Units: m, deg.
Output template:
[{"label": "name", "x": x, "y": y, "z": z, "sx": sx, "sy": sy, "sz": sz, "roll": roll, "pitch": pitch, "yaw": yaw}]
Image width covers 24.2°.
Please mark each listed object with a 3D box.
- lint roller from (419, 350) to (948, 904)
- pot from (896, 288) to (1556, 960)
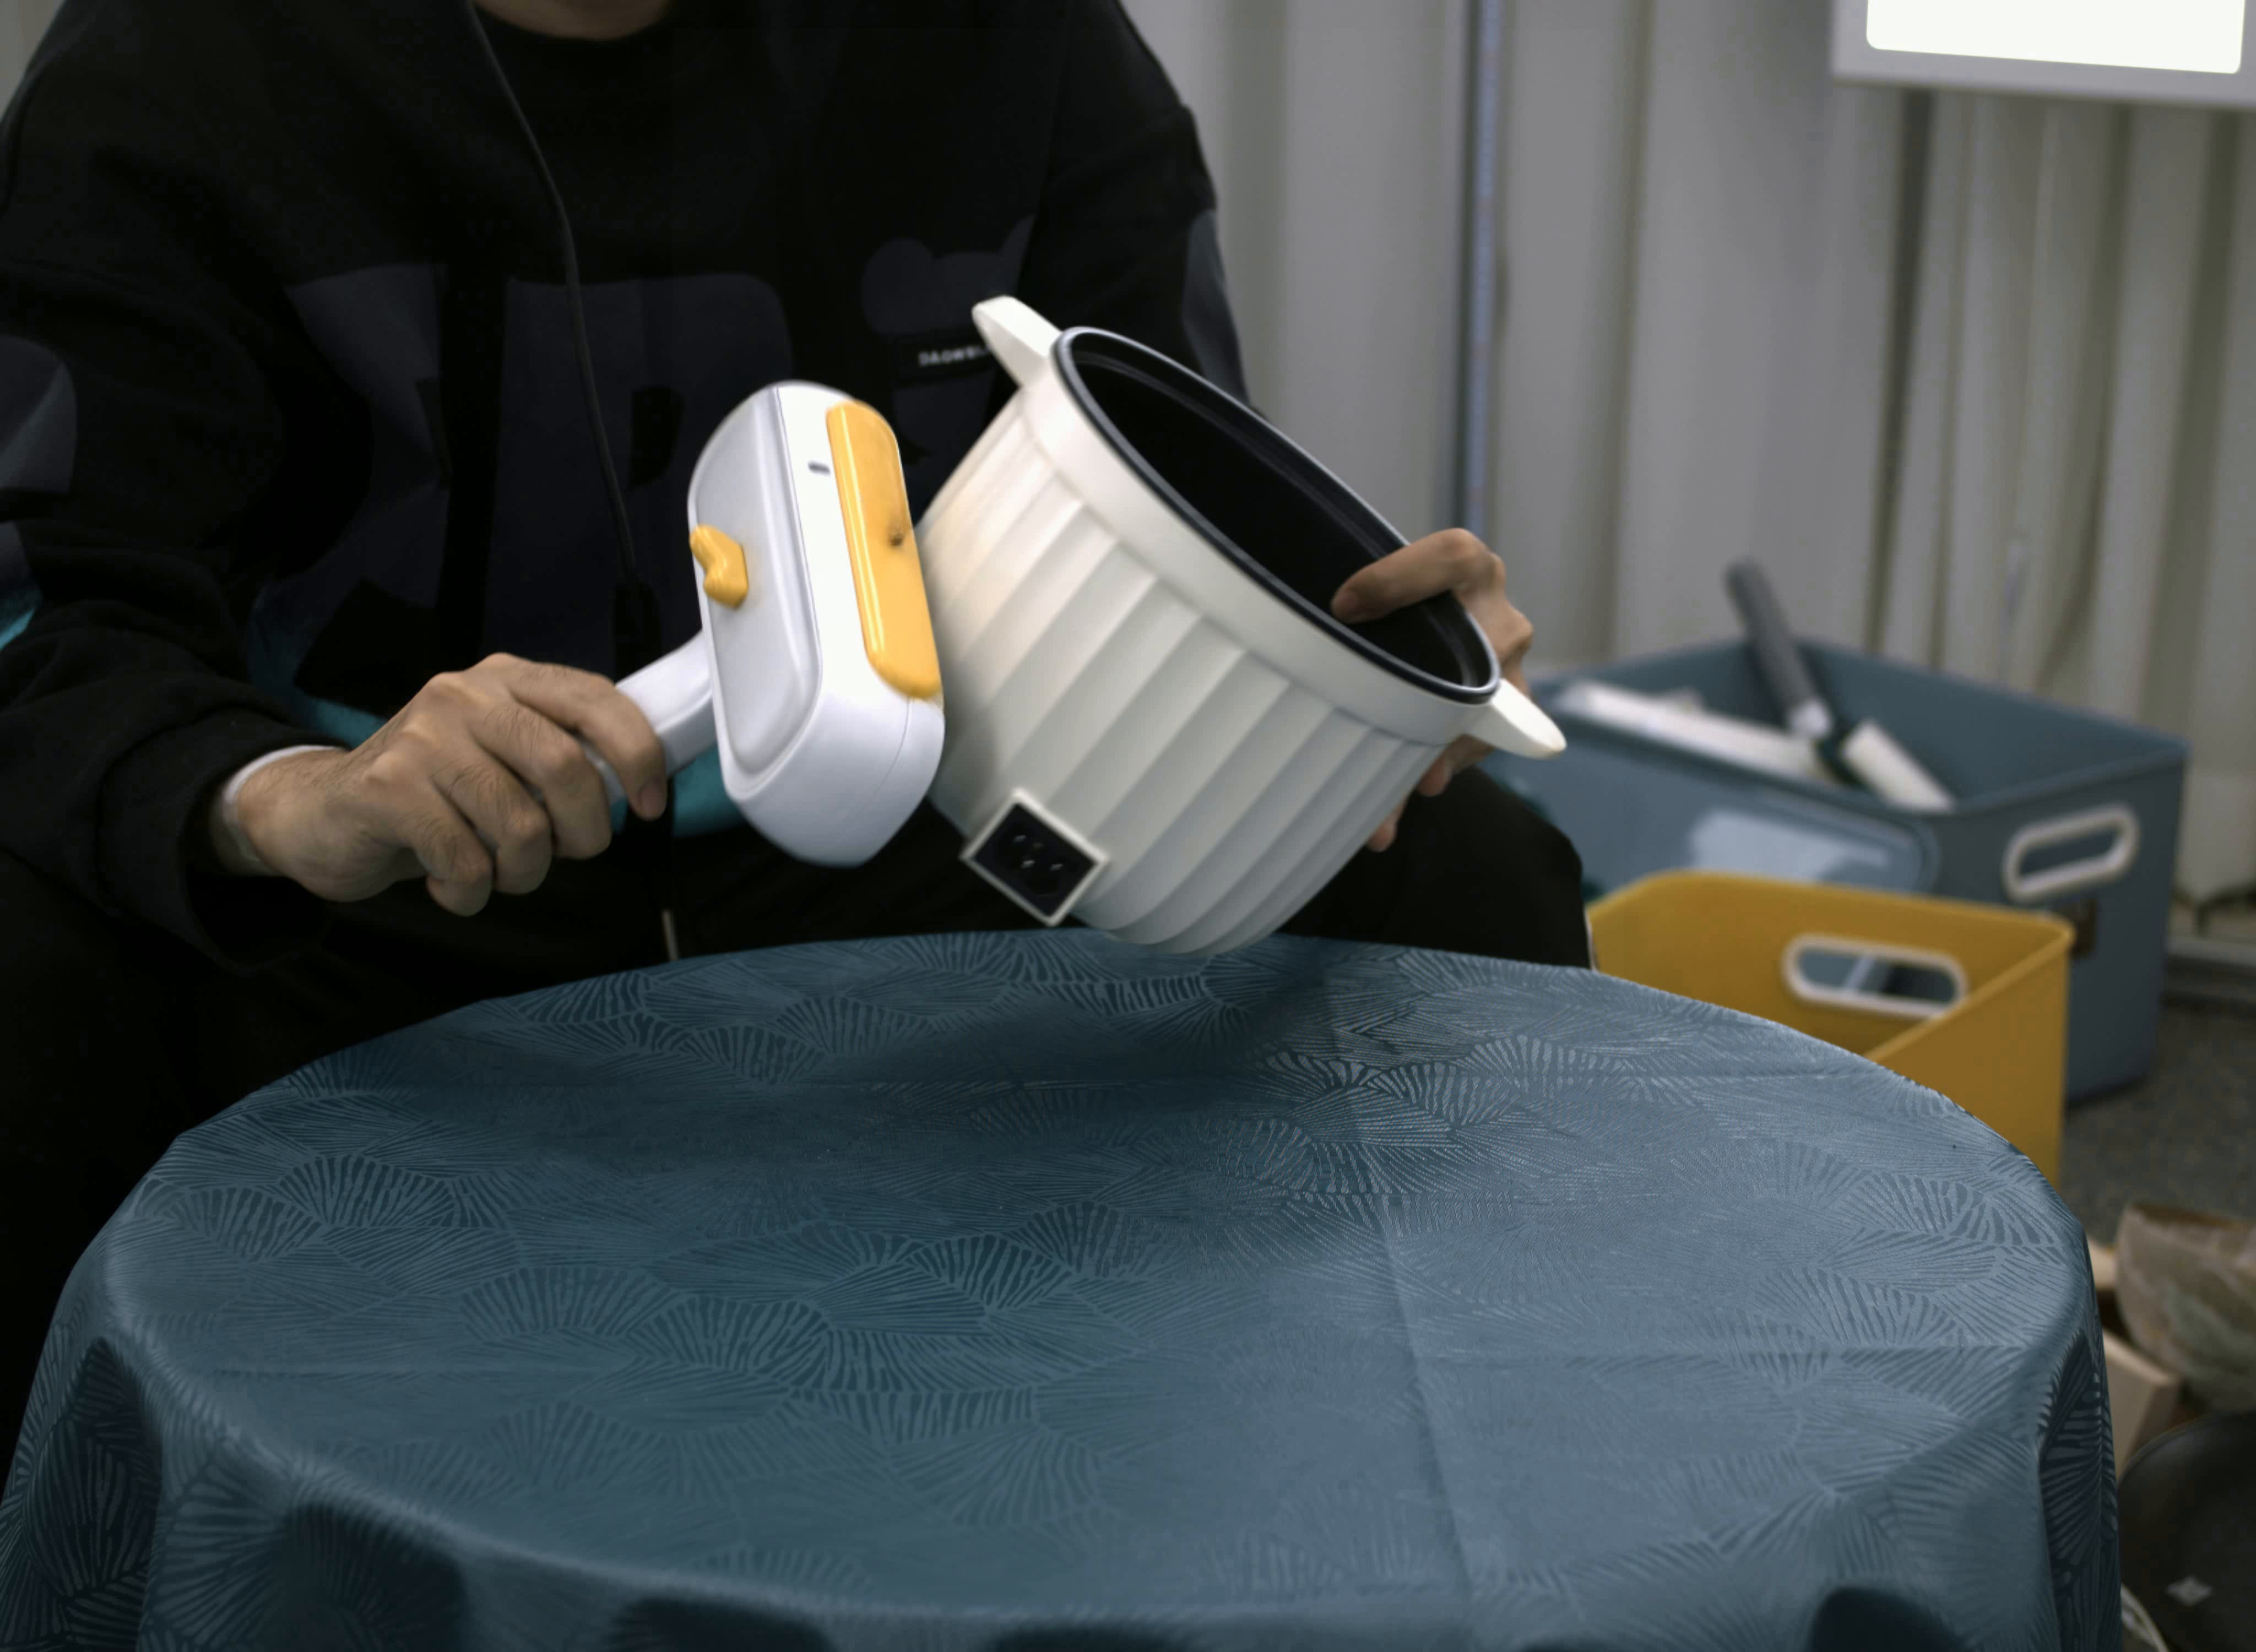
[{"label": "lint roller", "x": -0.144, "y": -0.041, "z": 1.667, "sx": 0.075, "sy": 0.192, "sz": 0.190, "roll": 30, "pitch": 26, "yaw": -38}, {"label": "pot", "x": 0.005, "y": -0.054, "z": 1.703, "sx": 0.241, "sy": 0.143, "sz": 0.189, "roll": 38, "pitch": 19, "yaw": -8}]
